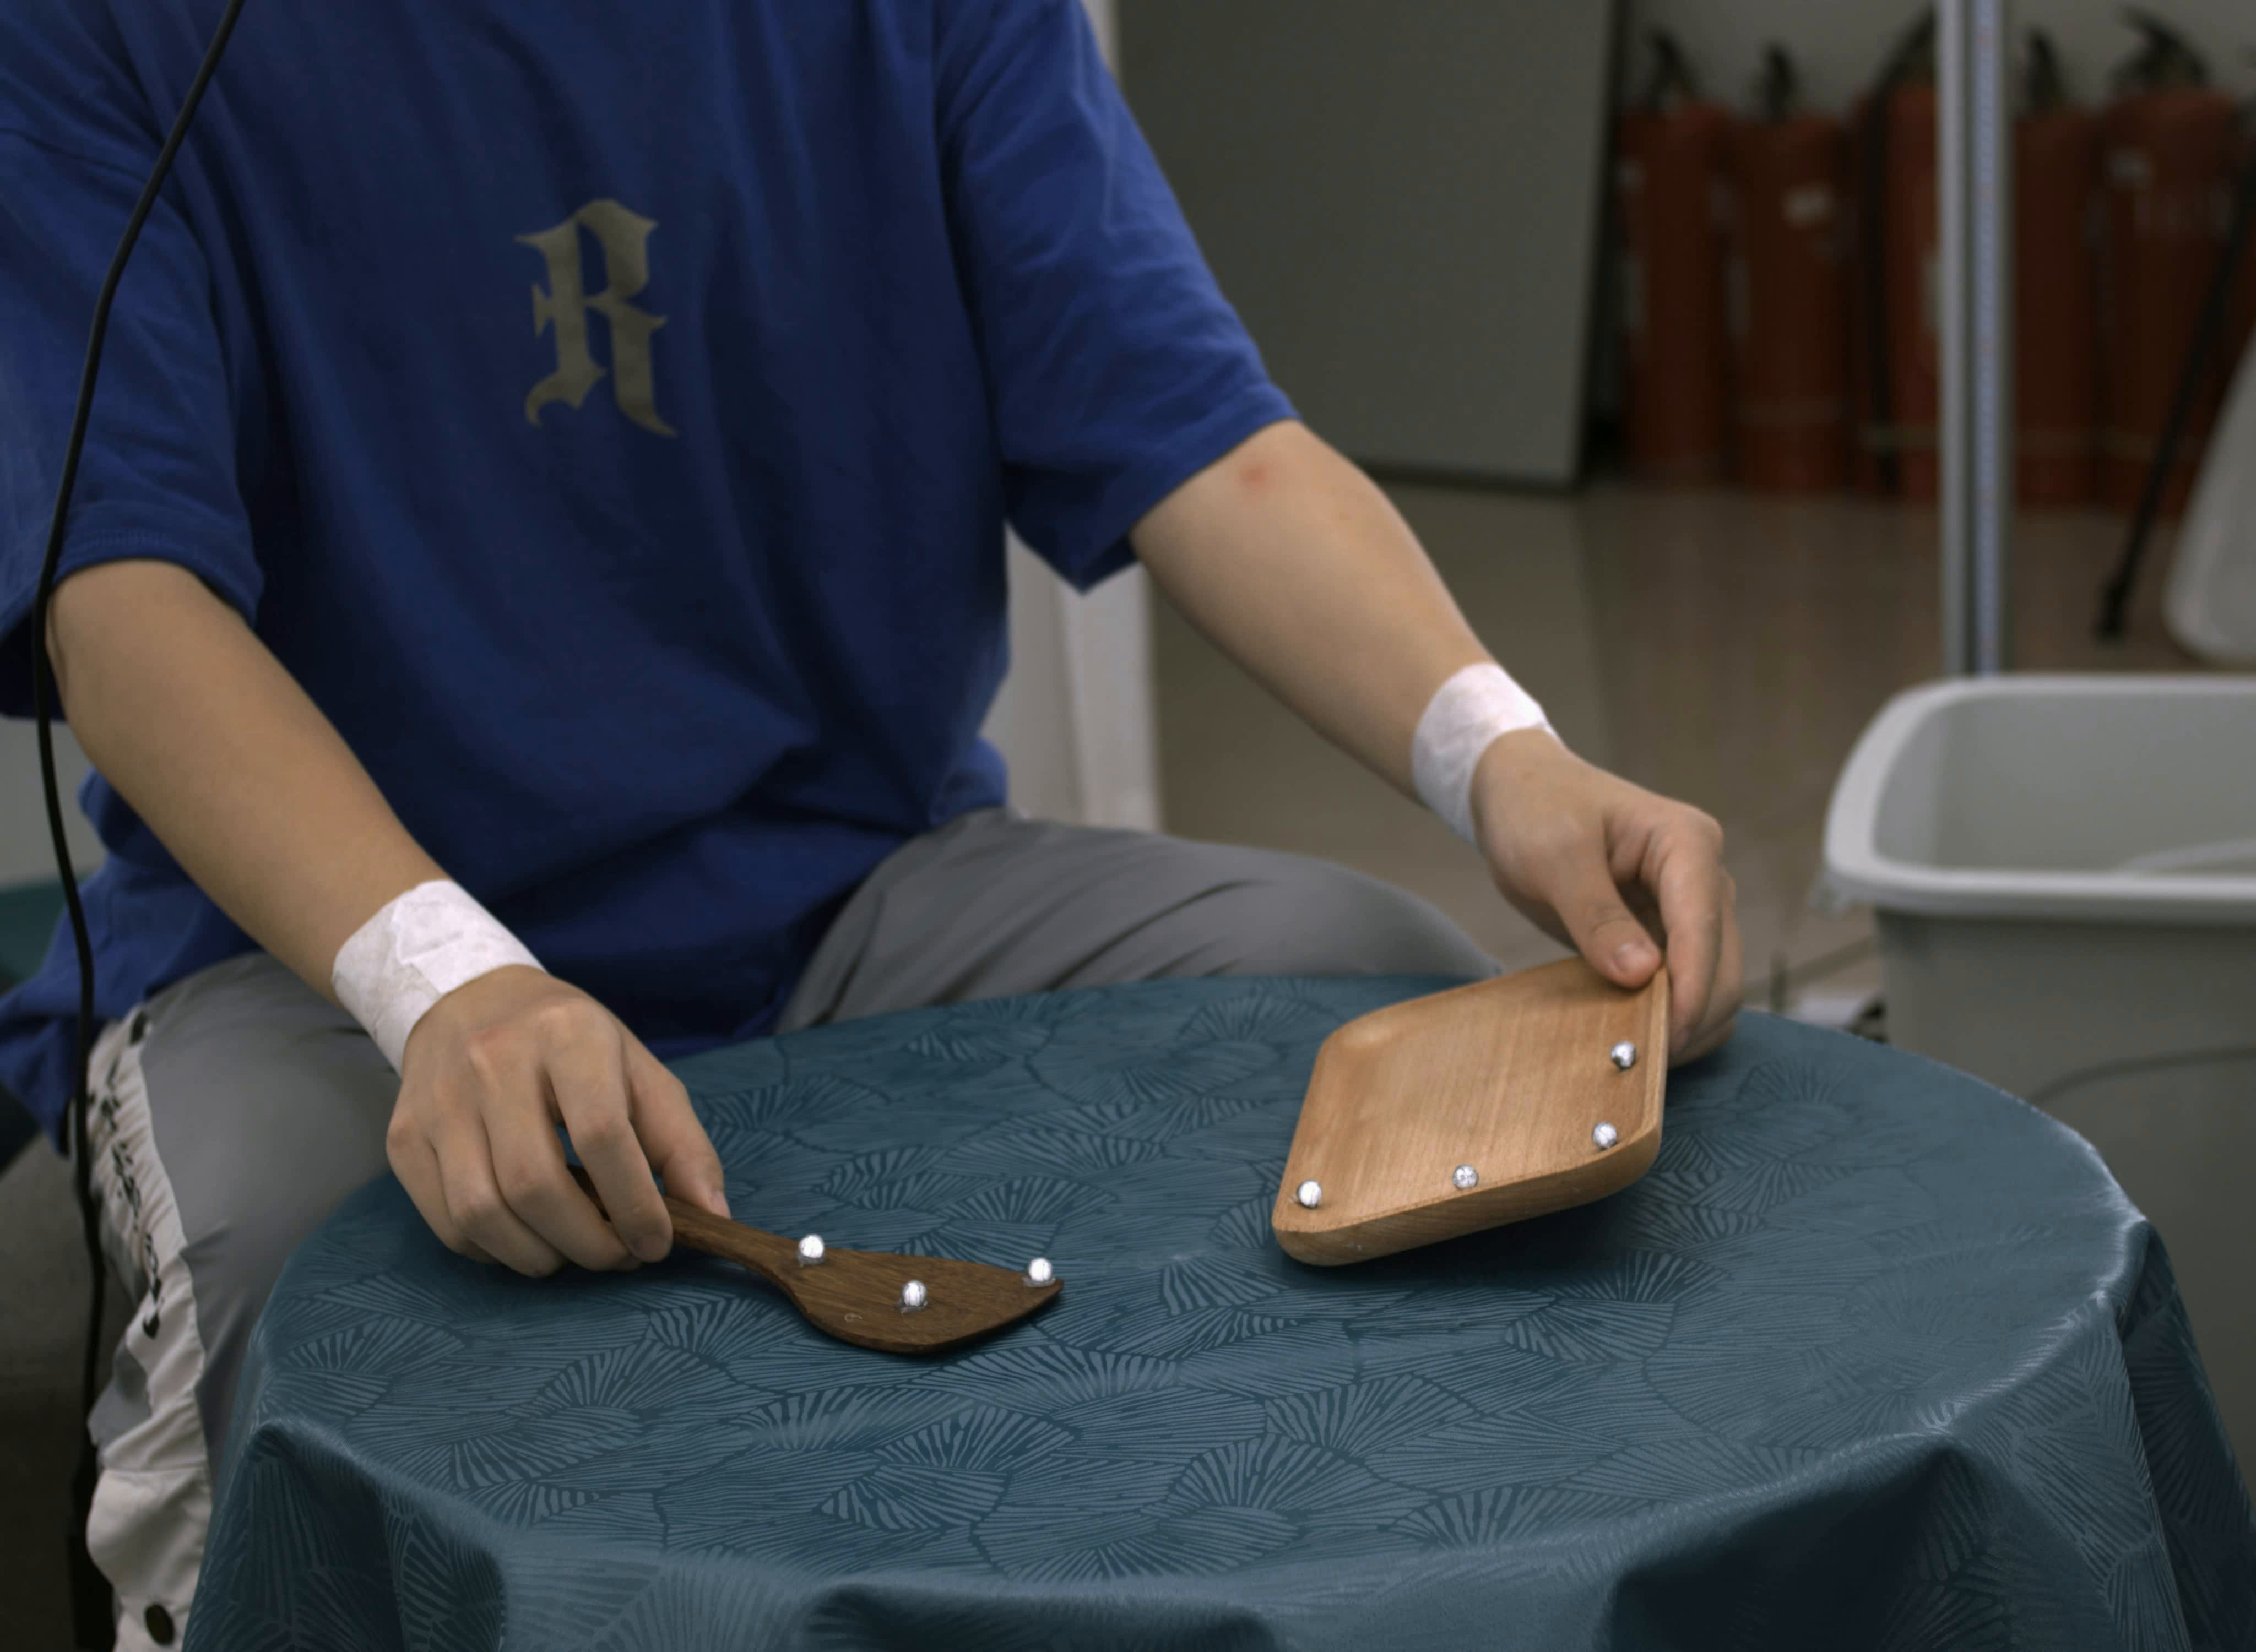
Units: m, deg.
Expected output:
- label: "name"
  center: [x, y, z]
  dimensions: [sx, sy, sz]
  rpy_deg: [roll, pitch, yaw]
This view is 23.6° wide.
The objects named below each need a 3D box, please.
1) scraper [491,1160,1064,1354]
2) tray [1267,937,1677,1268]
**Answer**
- label: "scraper"
  center: [-0.118, 0.133, 1.704]
  dimensions: [0.213, 0.011, 0.074]
  rpy_deg: [14, 20, 36]
- label: "tray"
  center: [0.117, 0.089, 1.772]
  dimensions: [0.130, 0.023, 0.250]
  rpy_deg: [-14, 11, 12]
